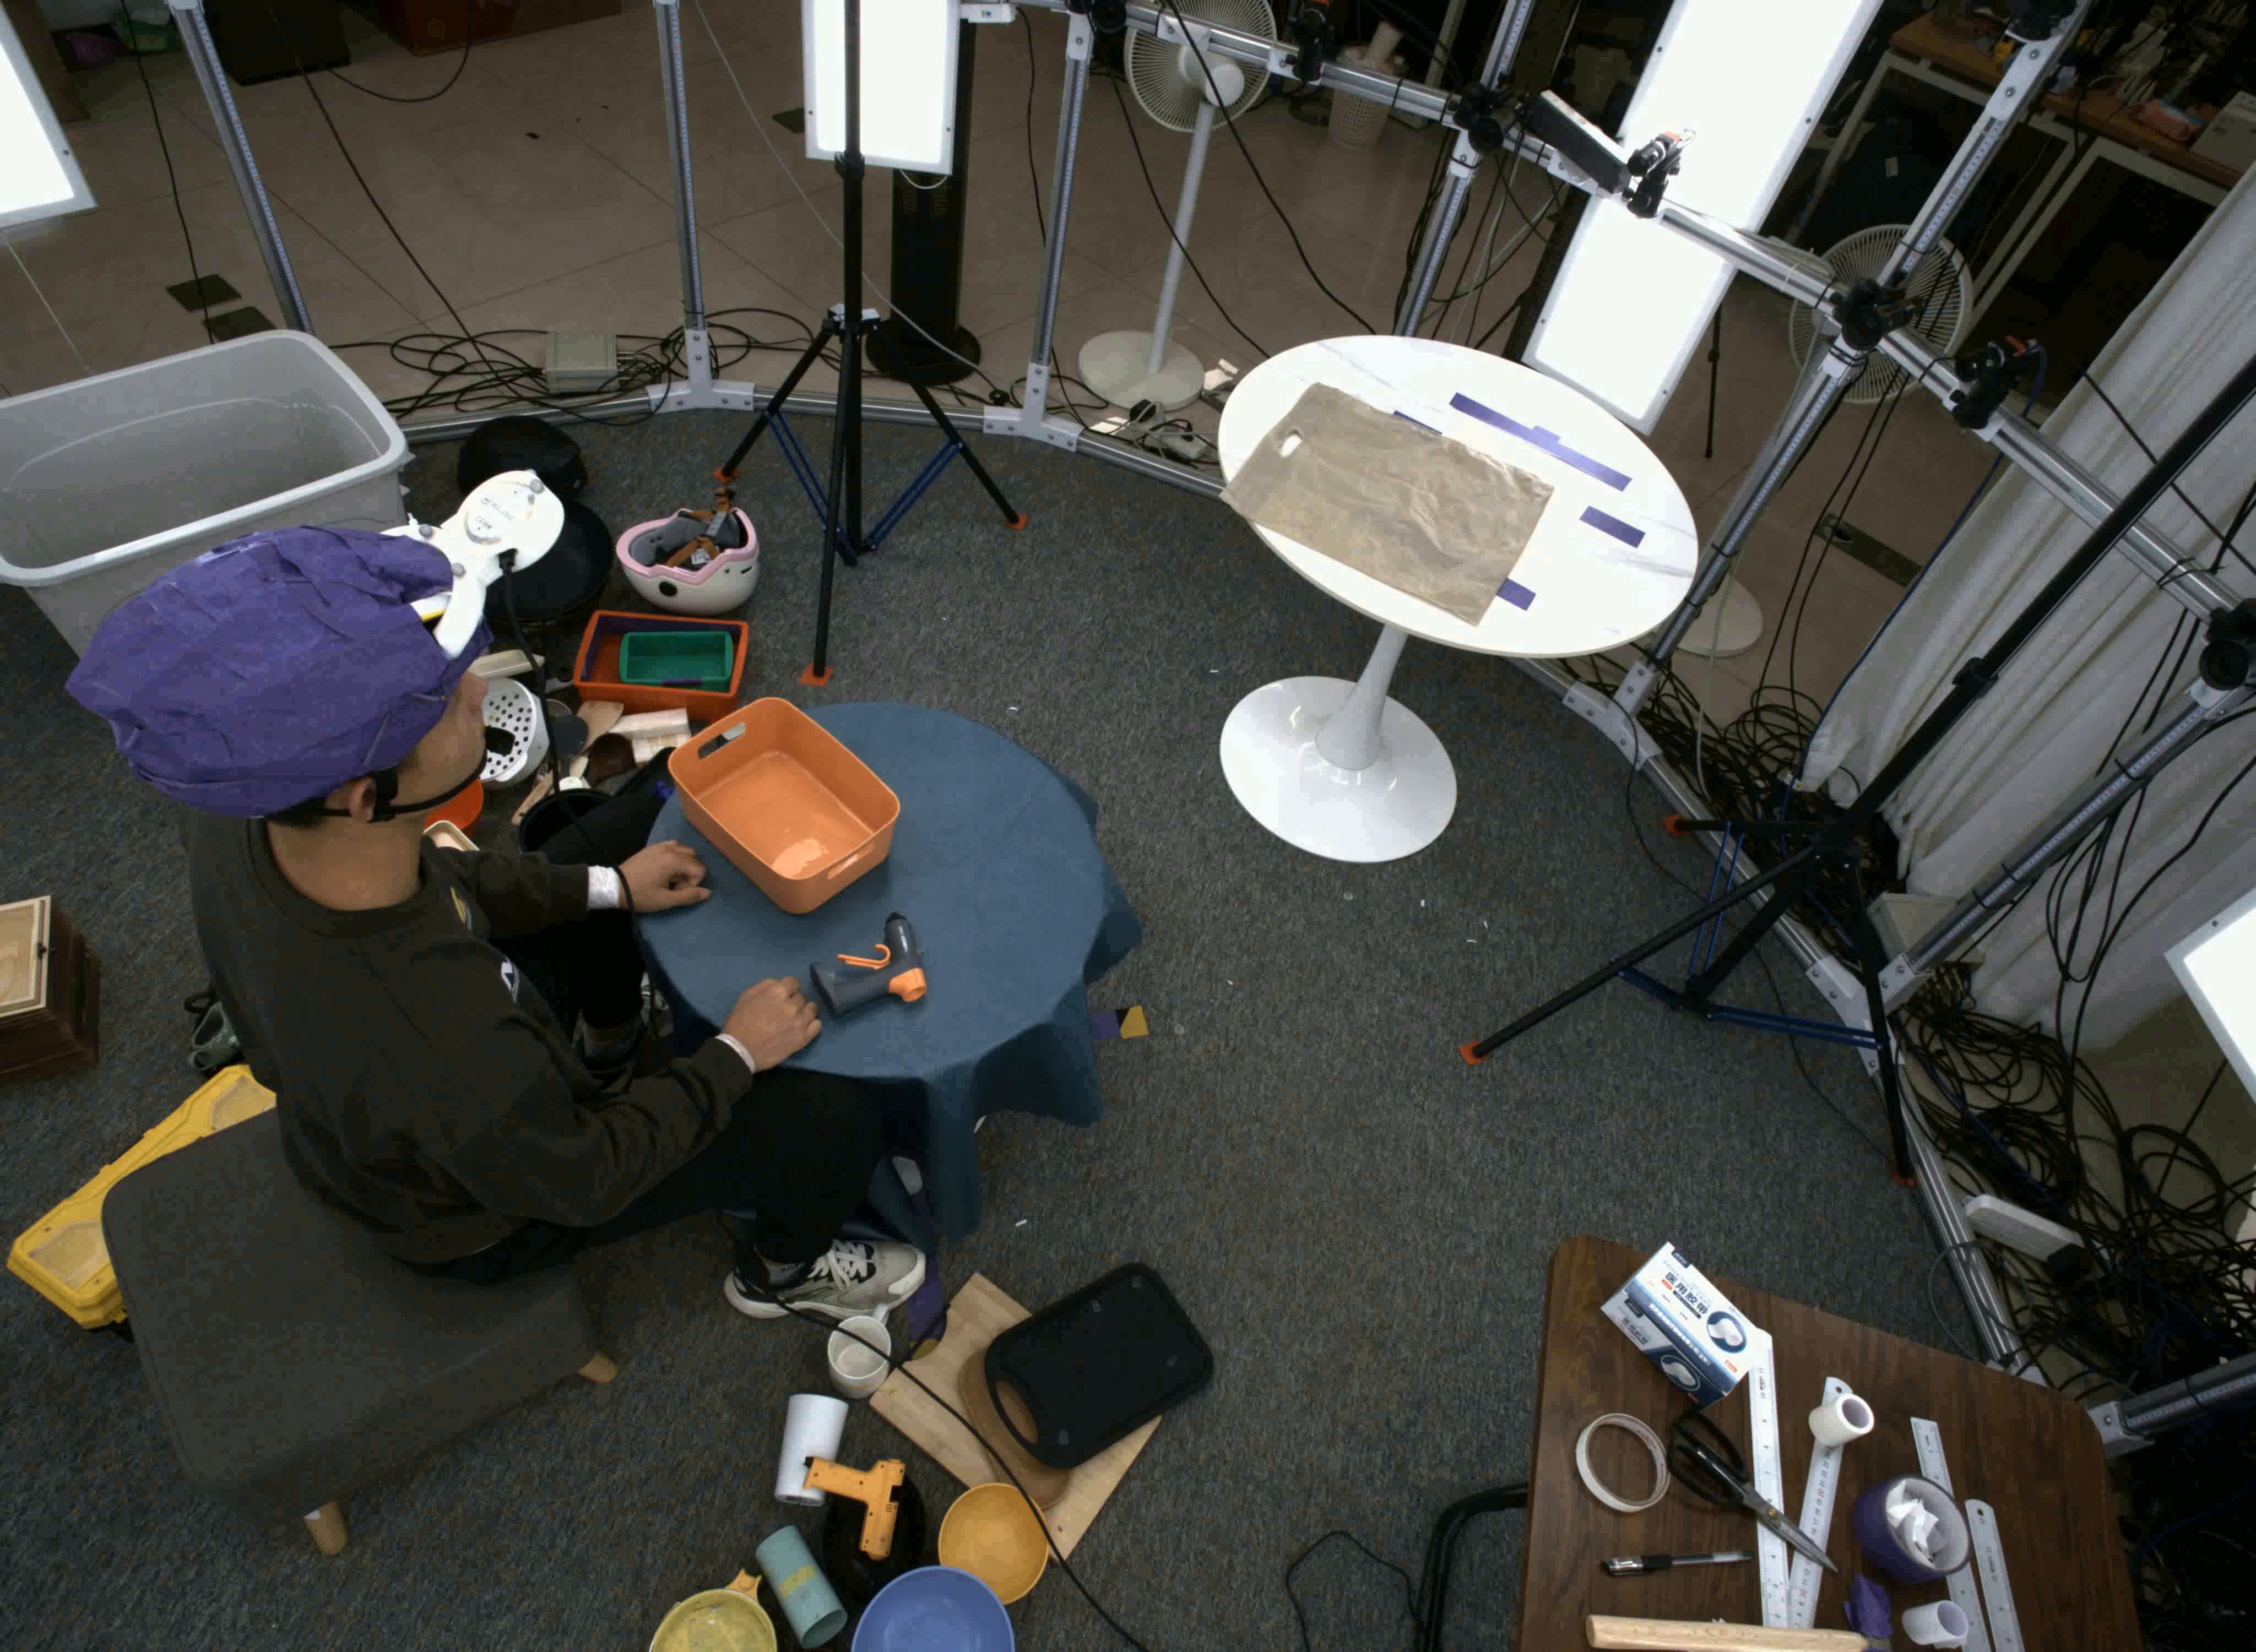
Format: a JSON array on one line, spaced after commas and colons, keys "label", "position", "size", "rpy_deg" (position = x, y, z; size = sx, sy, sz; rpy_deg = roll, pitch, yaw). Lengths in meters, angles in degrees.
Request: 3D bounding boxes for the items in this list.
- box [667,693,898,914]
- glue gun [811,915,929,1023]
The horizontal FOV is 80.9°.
[{"label": "box", "position": [-0.443, -0.025, 1.666], "size": [0.267, 0.104, 0.199], "rpy_deg": [39, 55, 15]}, {"label": "glue gun", "position": [-0.314, 0.174, 1.598], "size": [0.140, 0.042, 0.115], "rpy_deg": [-24, 61, -30]}]
